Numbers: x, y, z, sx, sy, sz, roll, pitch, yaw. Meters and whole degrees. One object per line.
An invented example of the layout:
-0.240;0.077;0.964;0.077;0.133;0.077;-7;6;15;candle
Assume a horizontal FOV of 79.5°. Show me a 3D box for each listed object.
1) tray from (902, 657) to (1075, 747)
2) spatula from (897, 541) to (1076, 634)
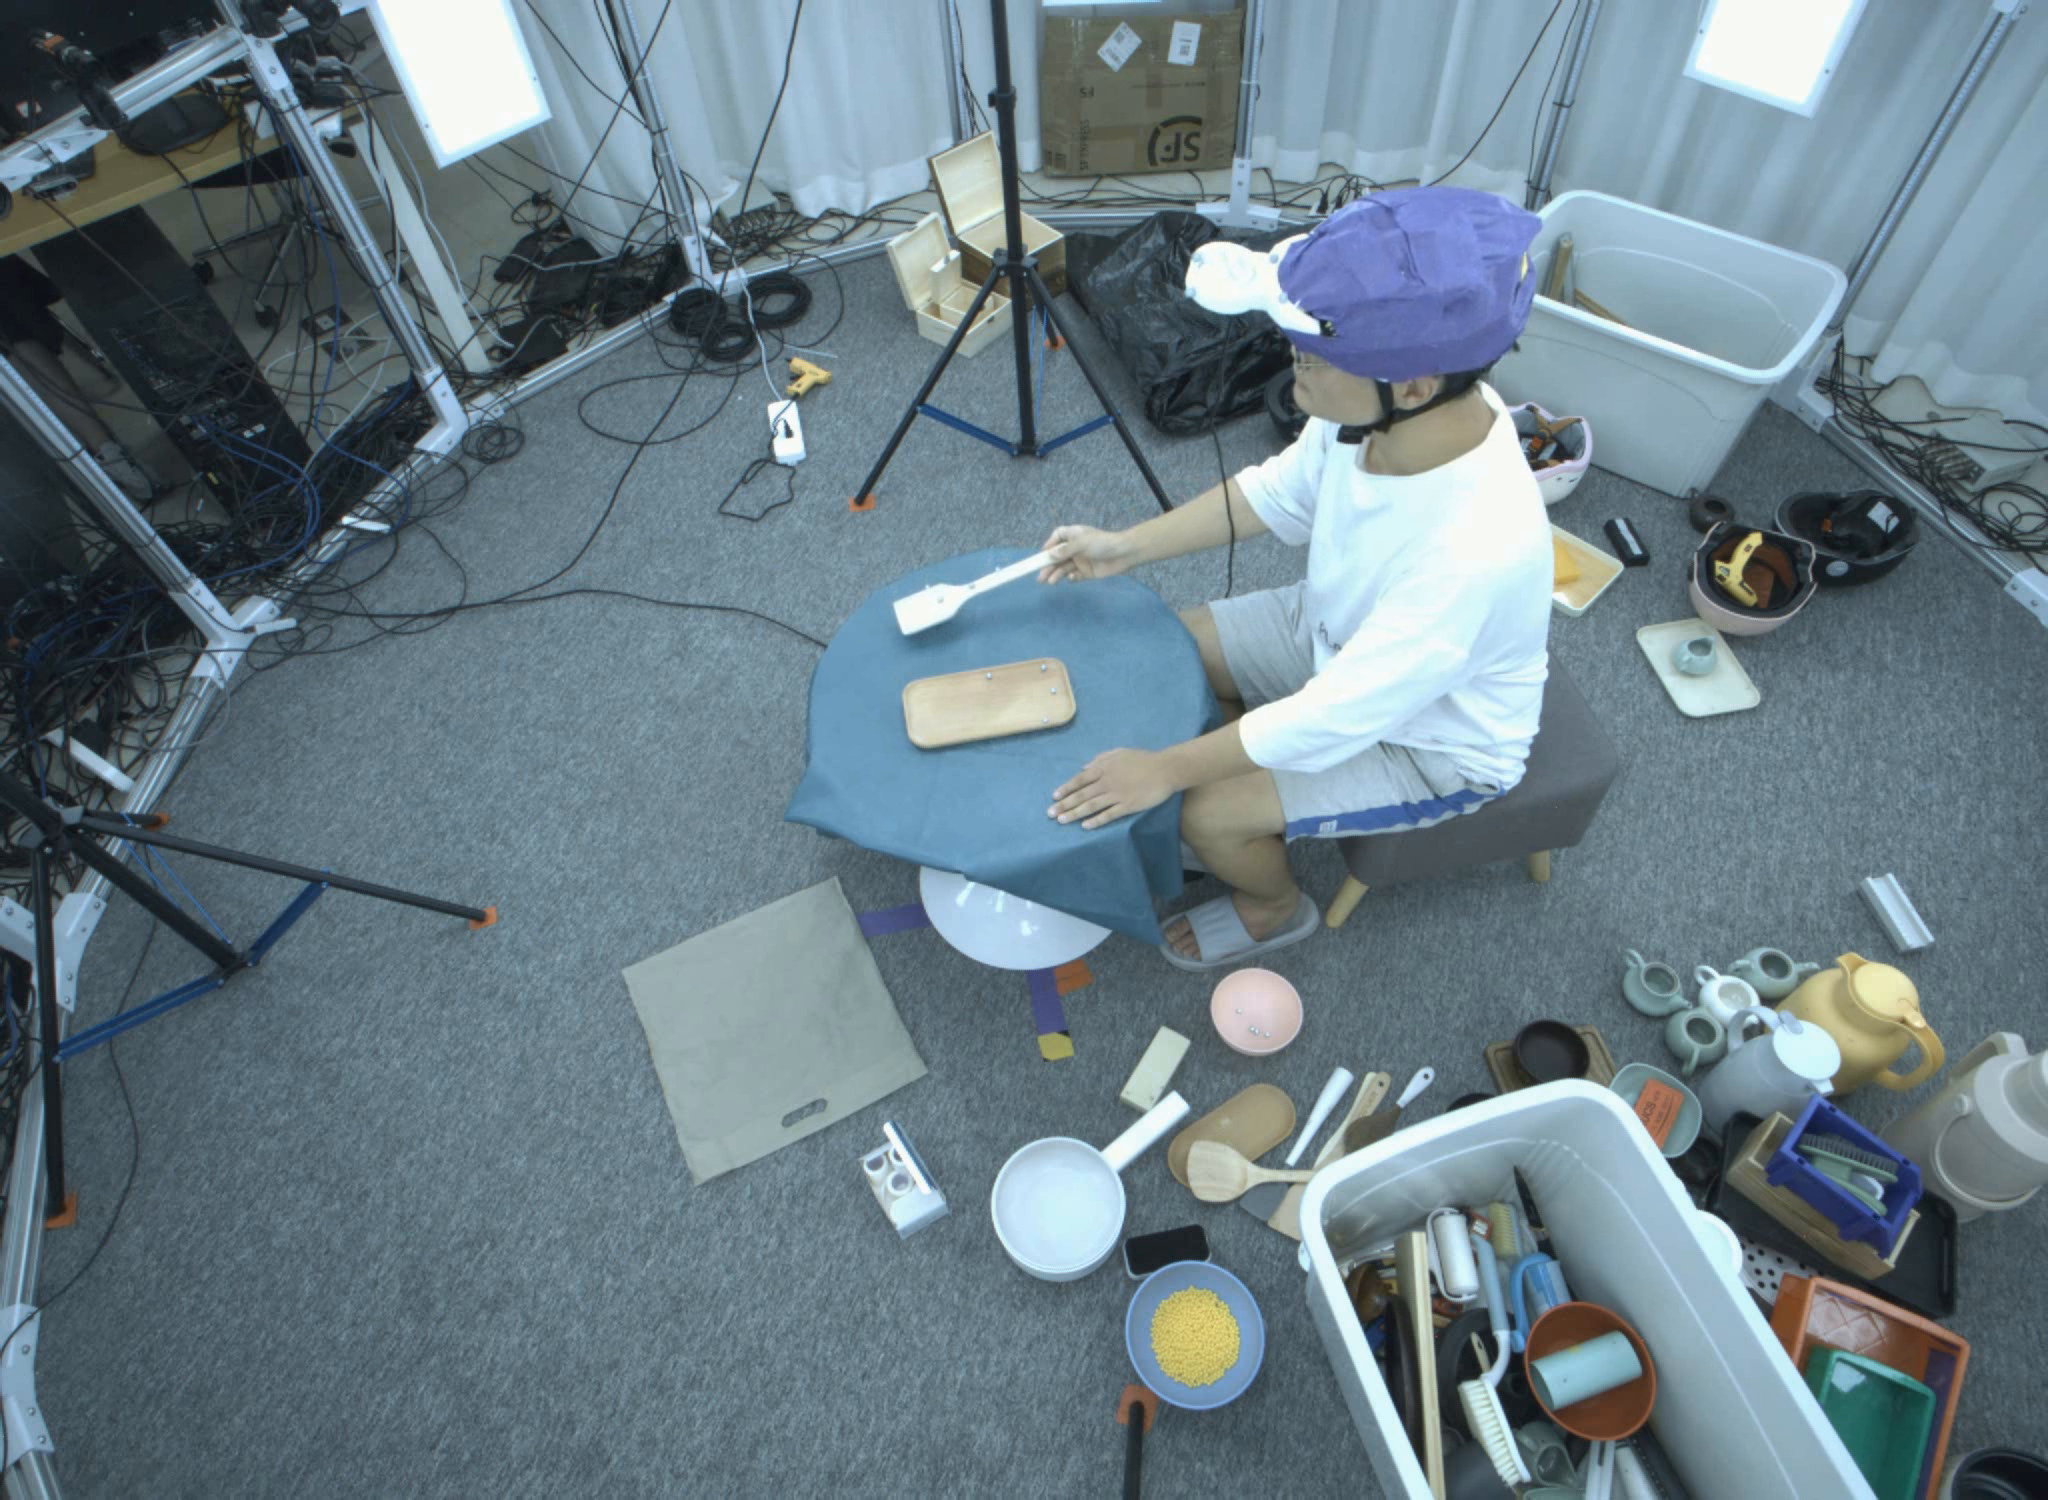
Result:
-0.054;-0.071;1.827;0.251;0.023;0.128;-9;52;-4;tray
-0.057;-0.260;1.898;0.293;0.011;0.071;-23;59;1;spatula
